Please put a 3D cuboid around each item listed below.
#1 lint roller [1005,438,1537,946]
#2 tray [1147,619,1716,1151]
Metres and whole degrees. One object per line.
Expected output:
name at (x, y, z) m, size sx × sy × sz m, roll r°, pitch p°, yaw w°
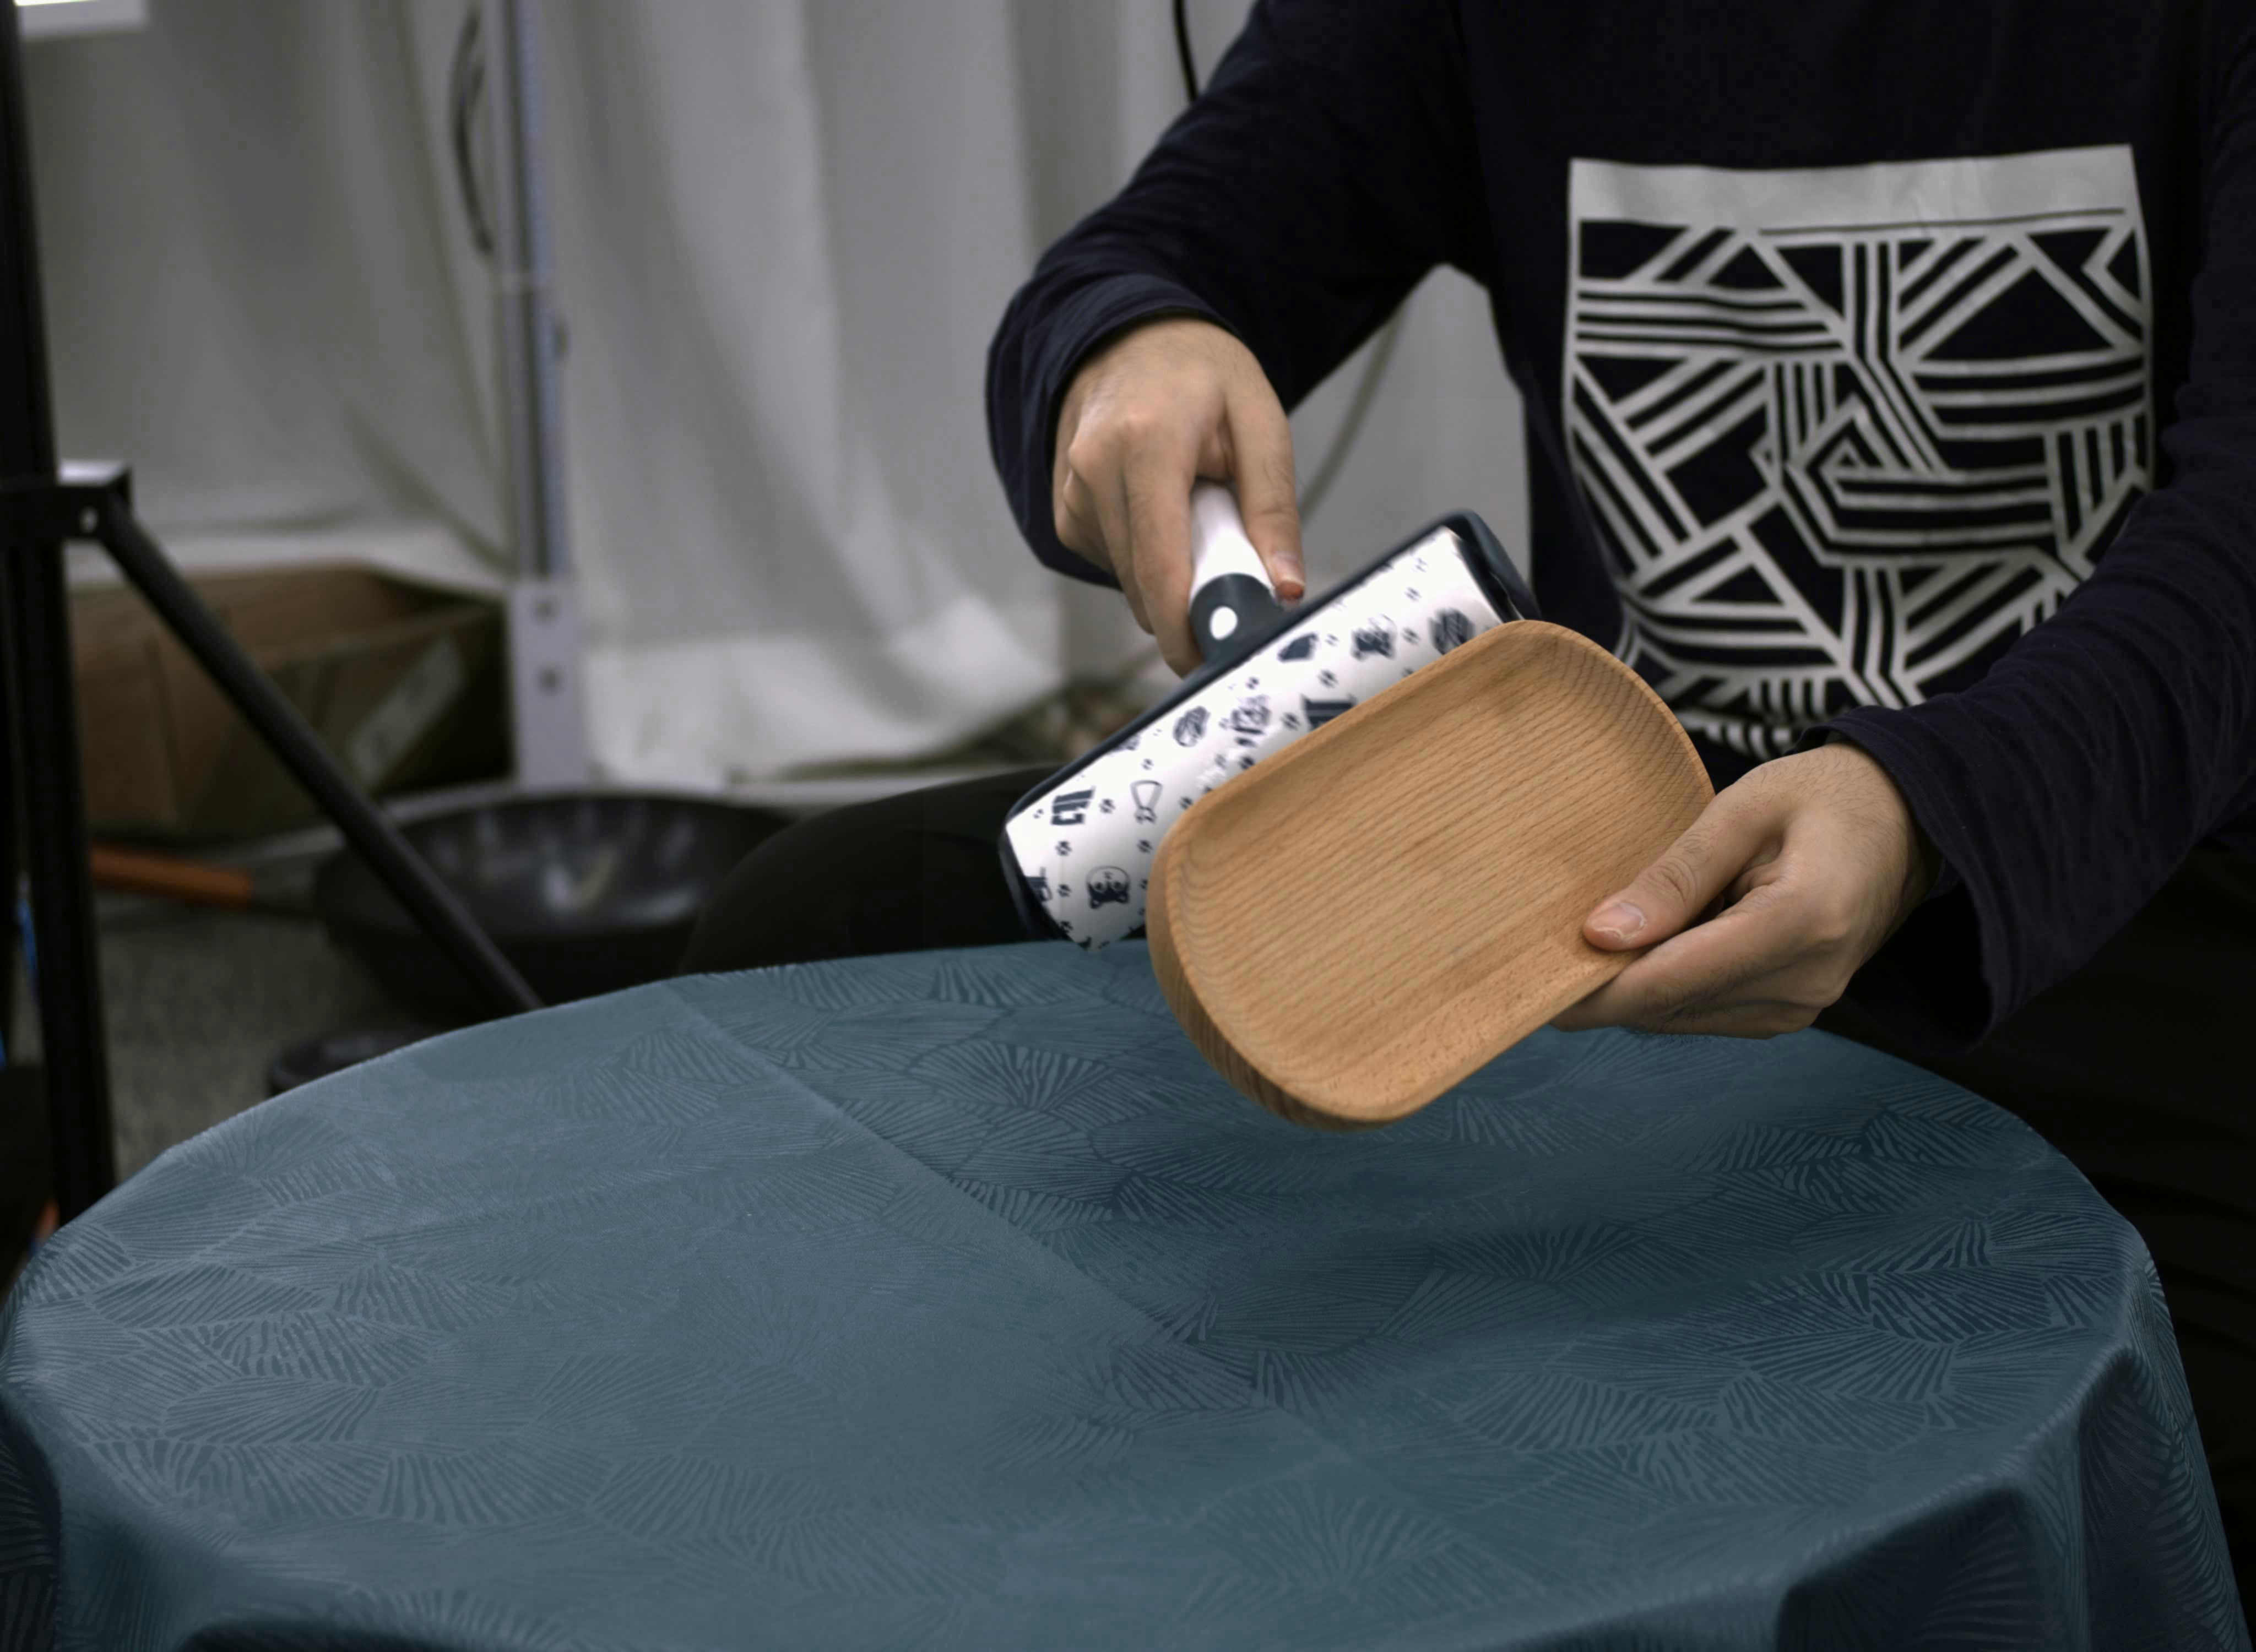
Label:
lint roller at (0.030, -0.070, 1.661) m, size 0.177 × 0.049 × 0.250 m, roll -34°, pitch 26°, yaw 10°
tray at (0.084, 0.014, 1.430) m, size 0.227 × 0.102 × 0.020 m, roll -32°, pitch -7°, yaw -45°
